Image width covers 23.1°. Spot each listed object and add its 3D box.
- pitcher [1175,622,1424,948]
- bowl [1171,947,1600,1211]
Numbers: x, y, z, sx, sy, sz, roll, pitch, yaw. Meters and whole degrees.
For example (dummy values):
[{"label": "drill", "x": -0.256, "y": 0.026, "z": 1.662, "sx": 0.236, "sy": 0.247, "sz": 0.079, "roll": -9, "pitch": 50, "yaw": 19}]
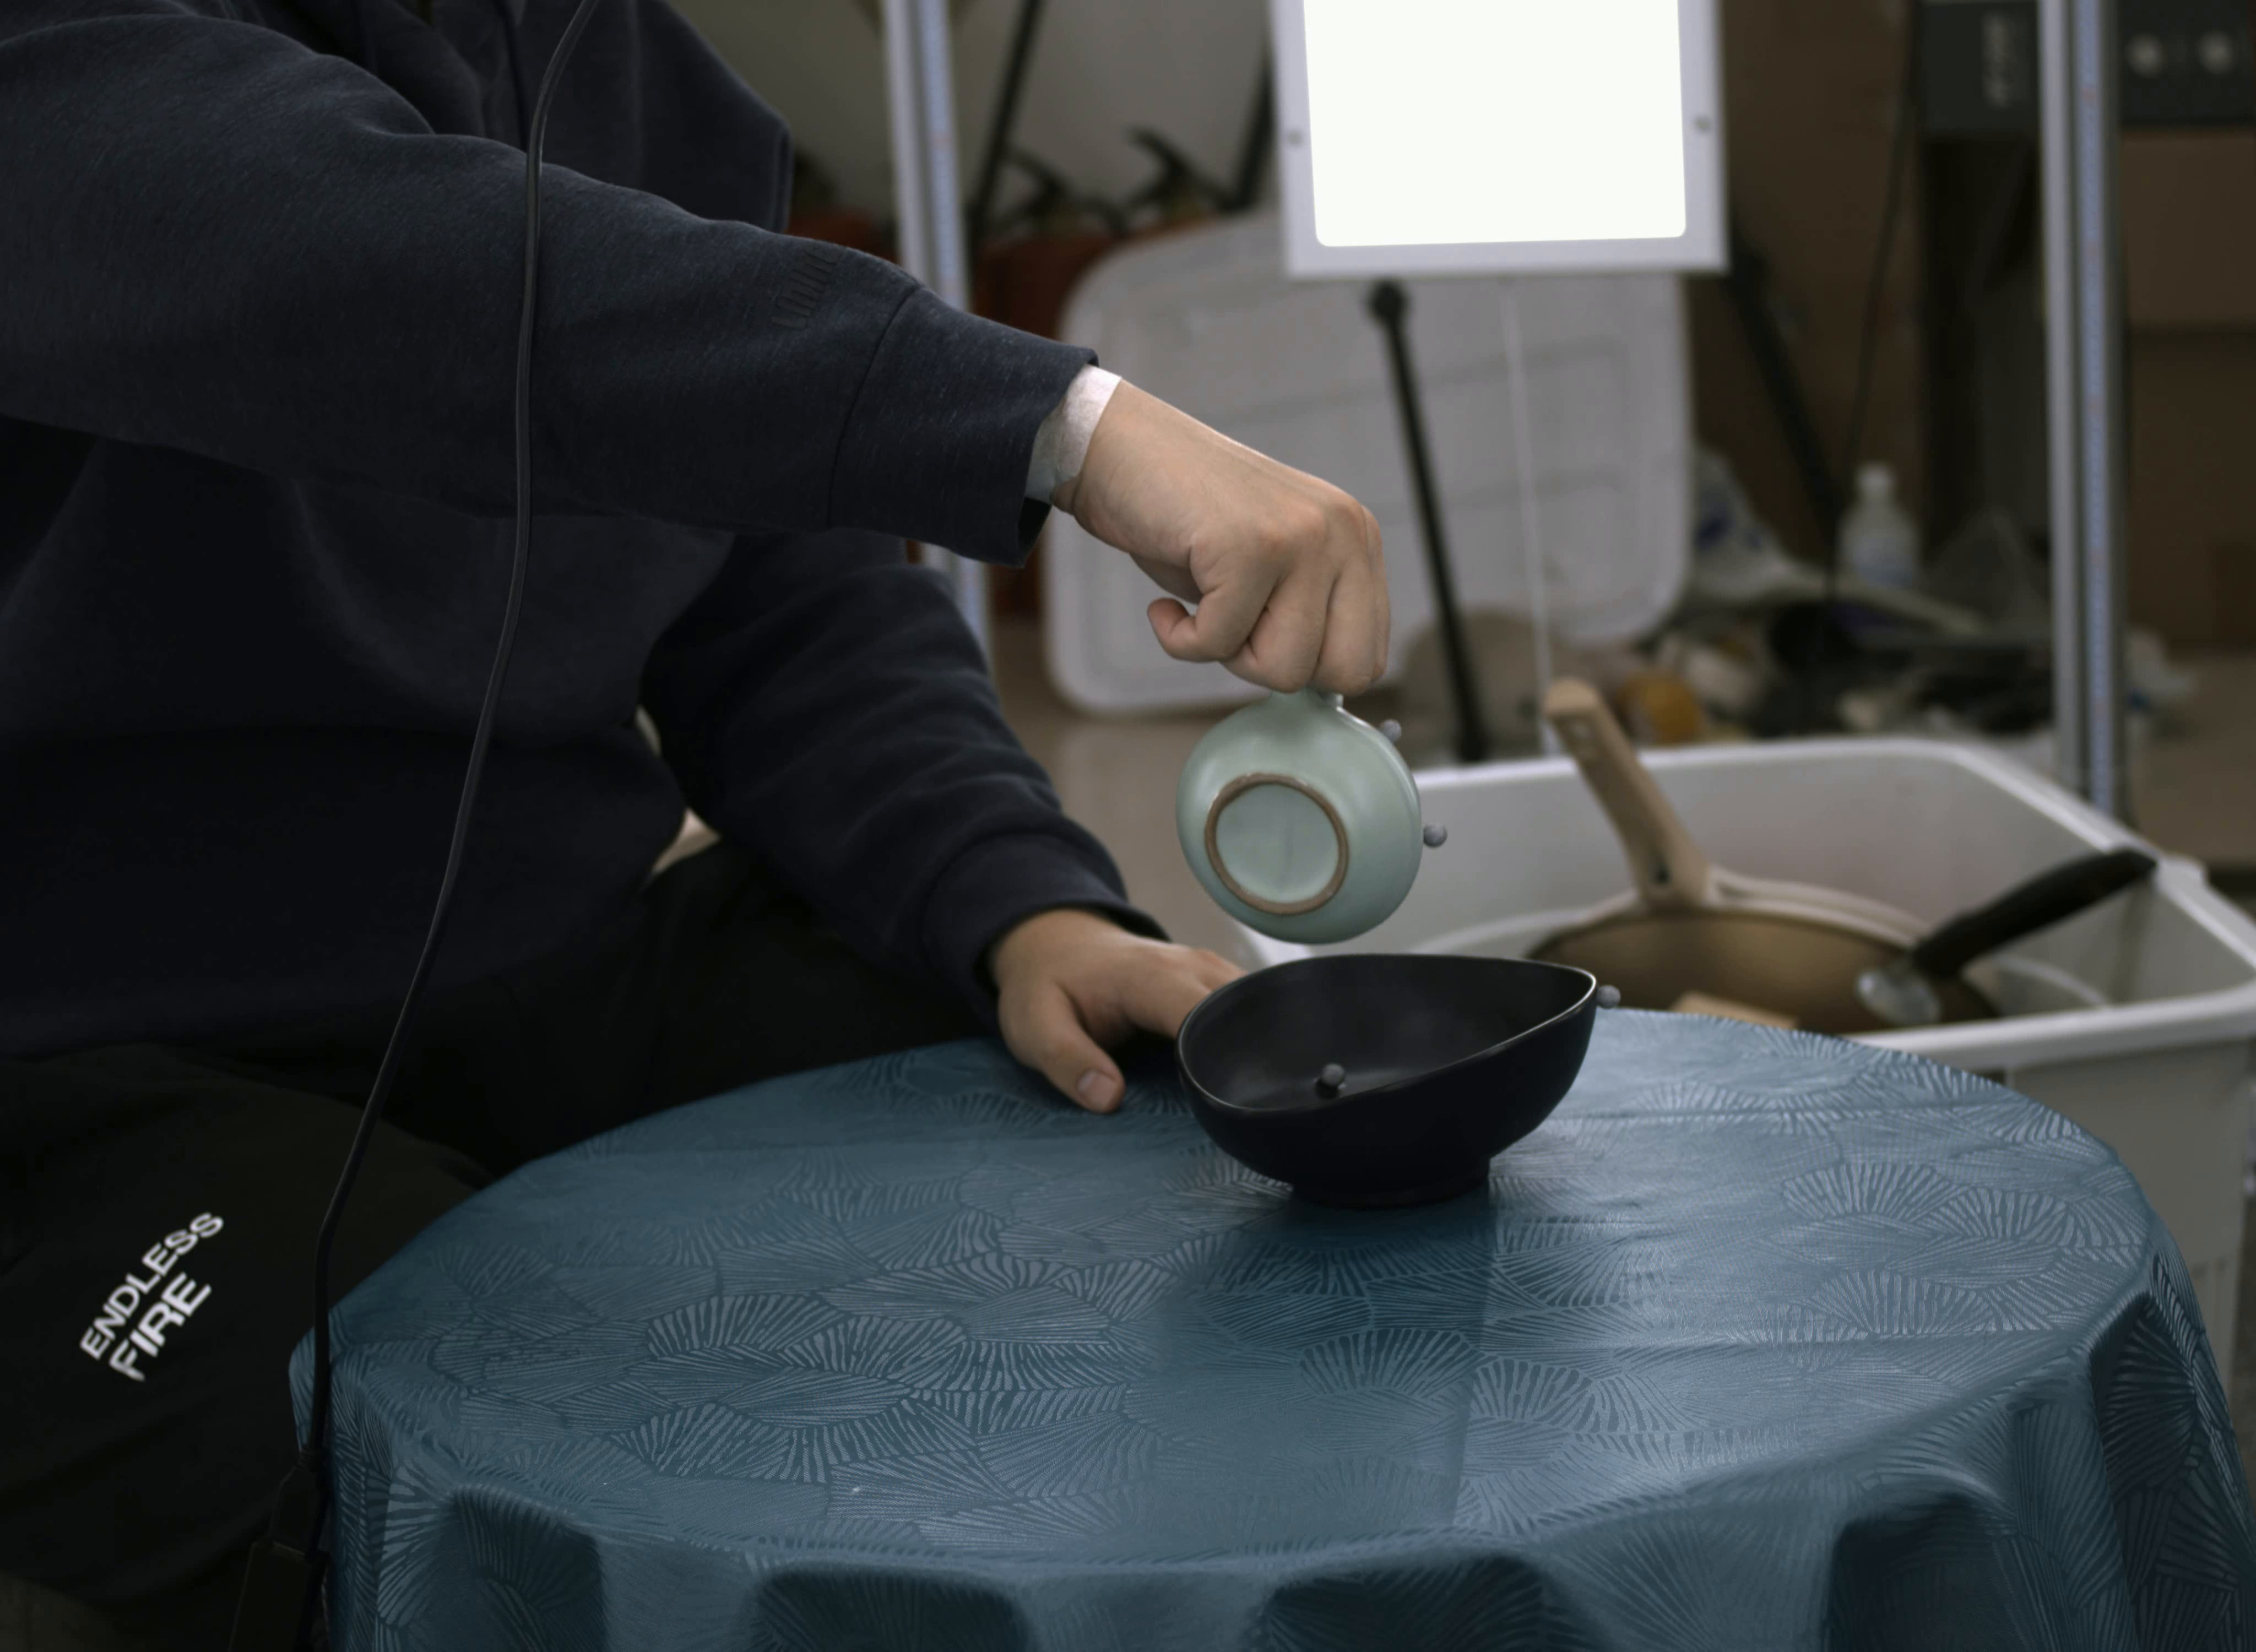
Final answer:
[{"label": "pitcher", "x": 0.059, "y": -0.013, "z": 1.811, "sx": 0.087, "sy": 0.108, "sz": 0.059, "roll": 8, "pitch": 25, "yaw": 22}, {"label": "bowl", "x": 0.090, "y": 0.091, "z": 1.882, "sx": 0.140, "sy": 0.067, "sz": 0.166, "roll": 4, "pitch": 17, "yaw": 35}]
